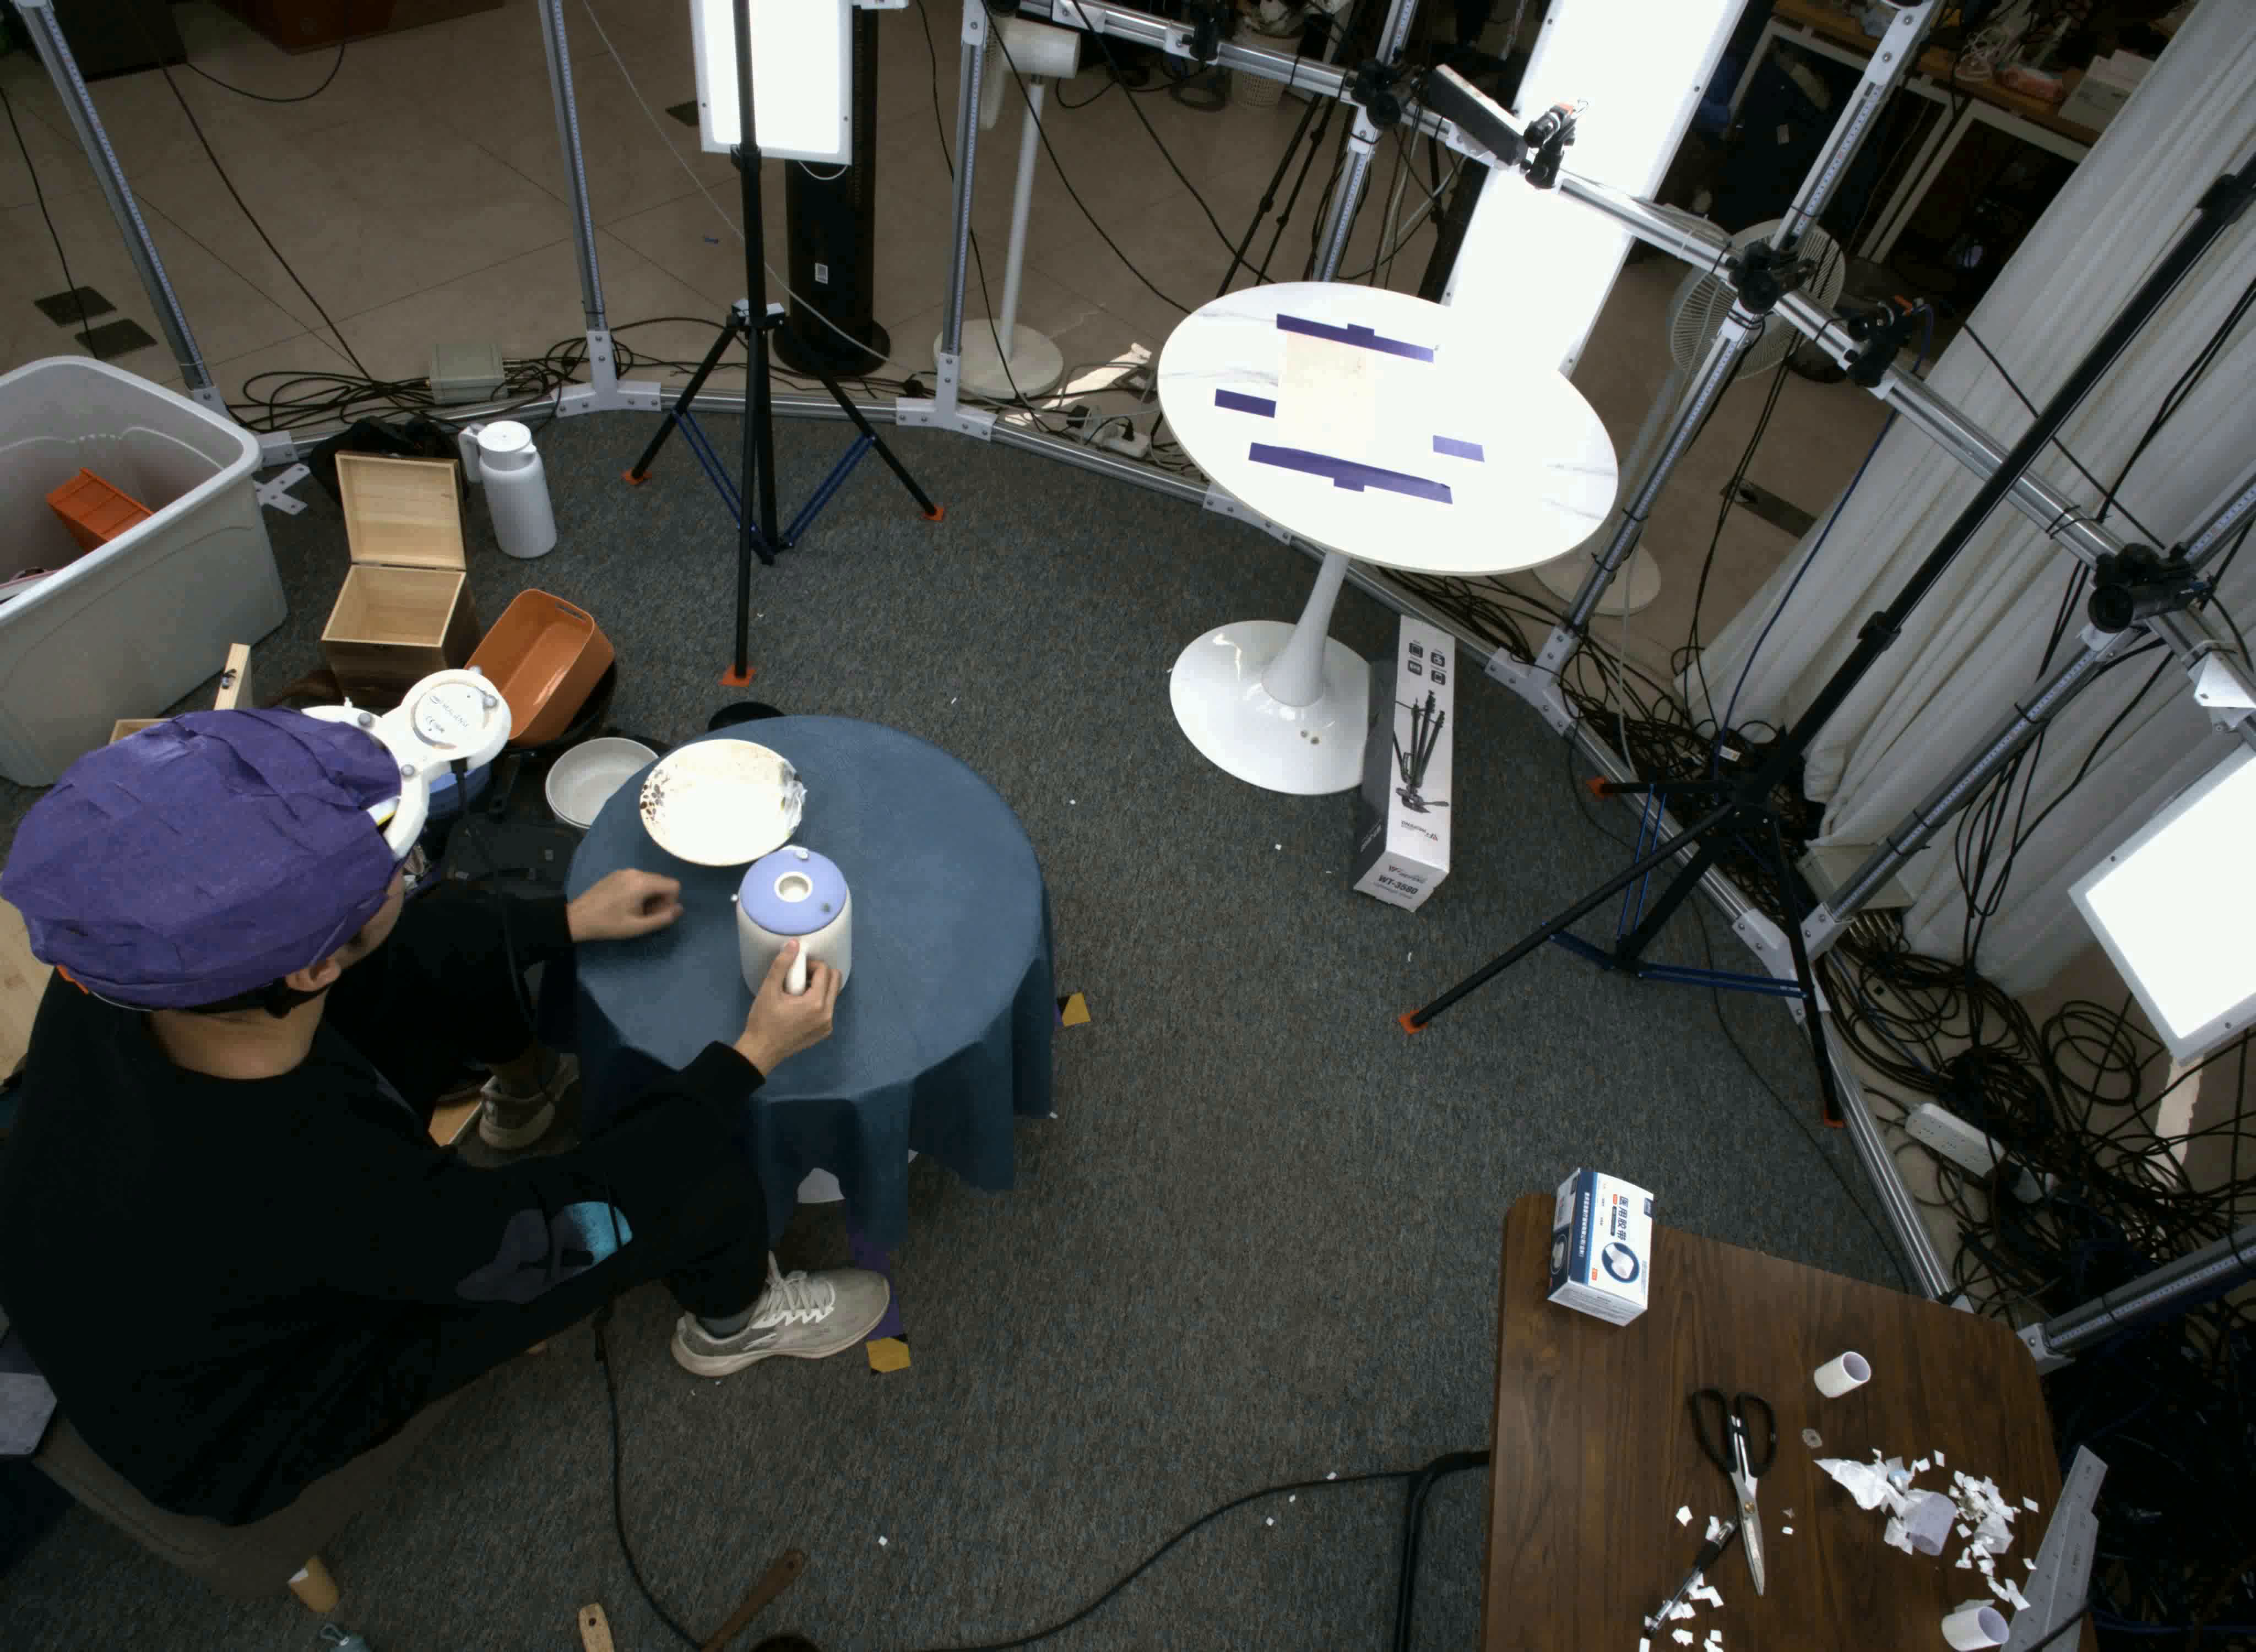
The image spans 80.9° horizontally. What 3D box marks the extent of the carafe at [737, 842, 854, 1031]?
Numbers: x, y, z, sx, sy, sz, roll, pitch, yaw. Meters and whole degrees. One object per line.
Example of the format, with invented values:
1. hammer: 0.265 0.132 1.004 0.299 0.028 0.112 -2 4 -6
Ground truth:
1. carafe: -0.389 0.141 1.525 0.132 0.186 0.187 -5 57 -14

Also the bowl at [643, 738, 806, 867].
1. bowl: -0.517 -0.012 1.666 0.203 0.079 0.200 6 54 -7
